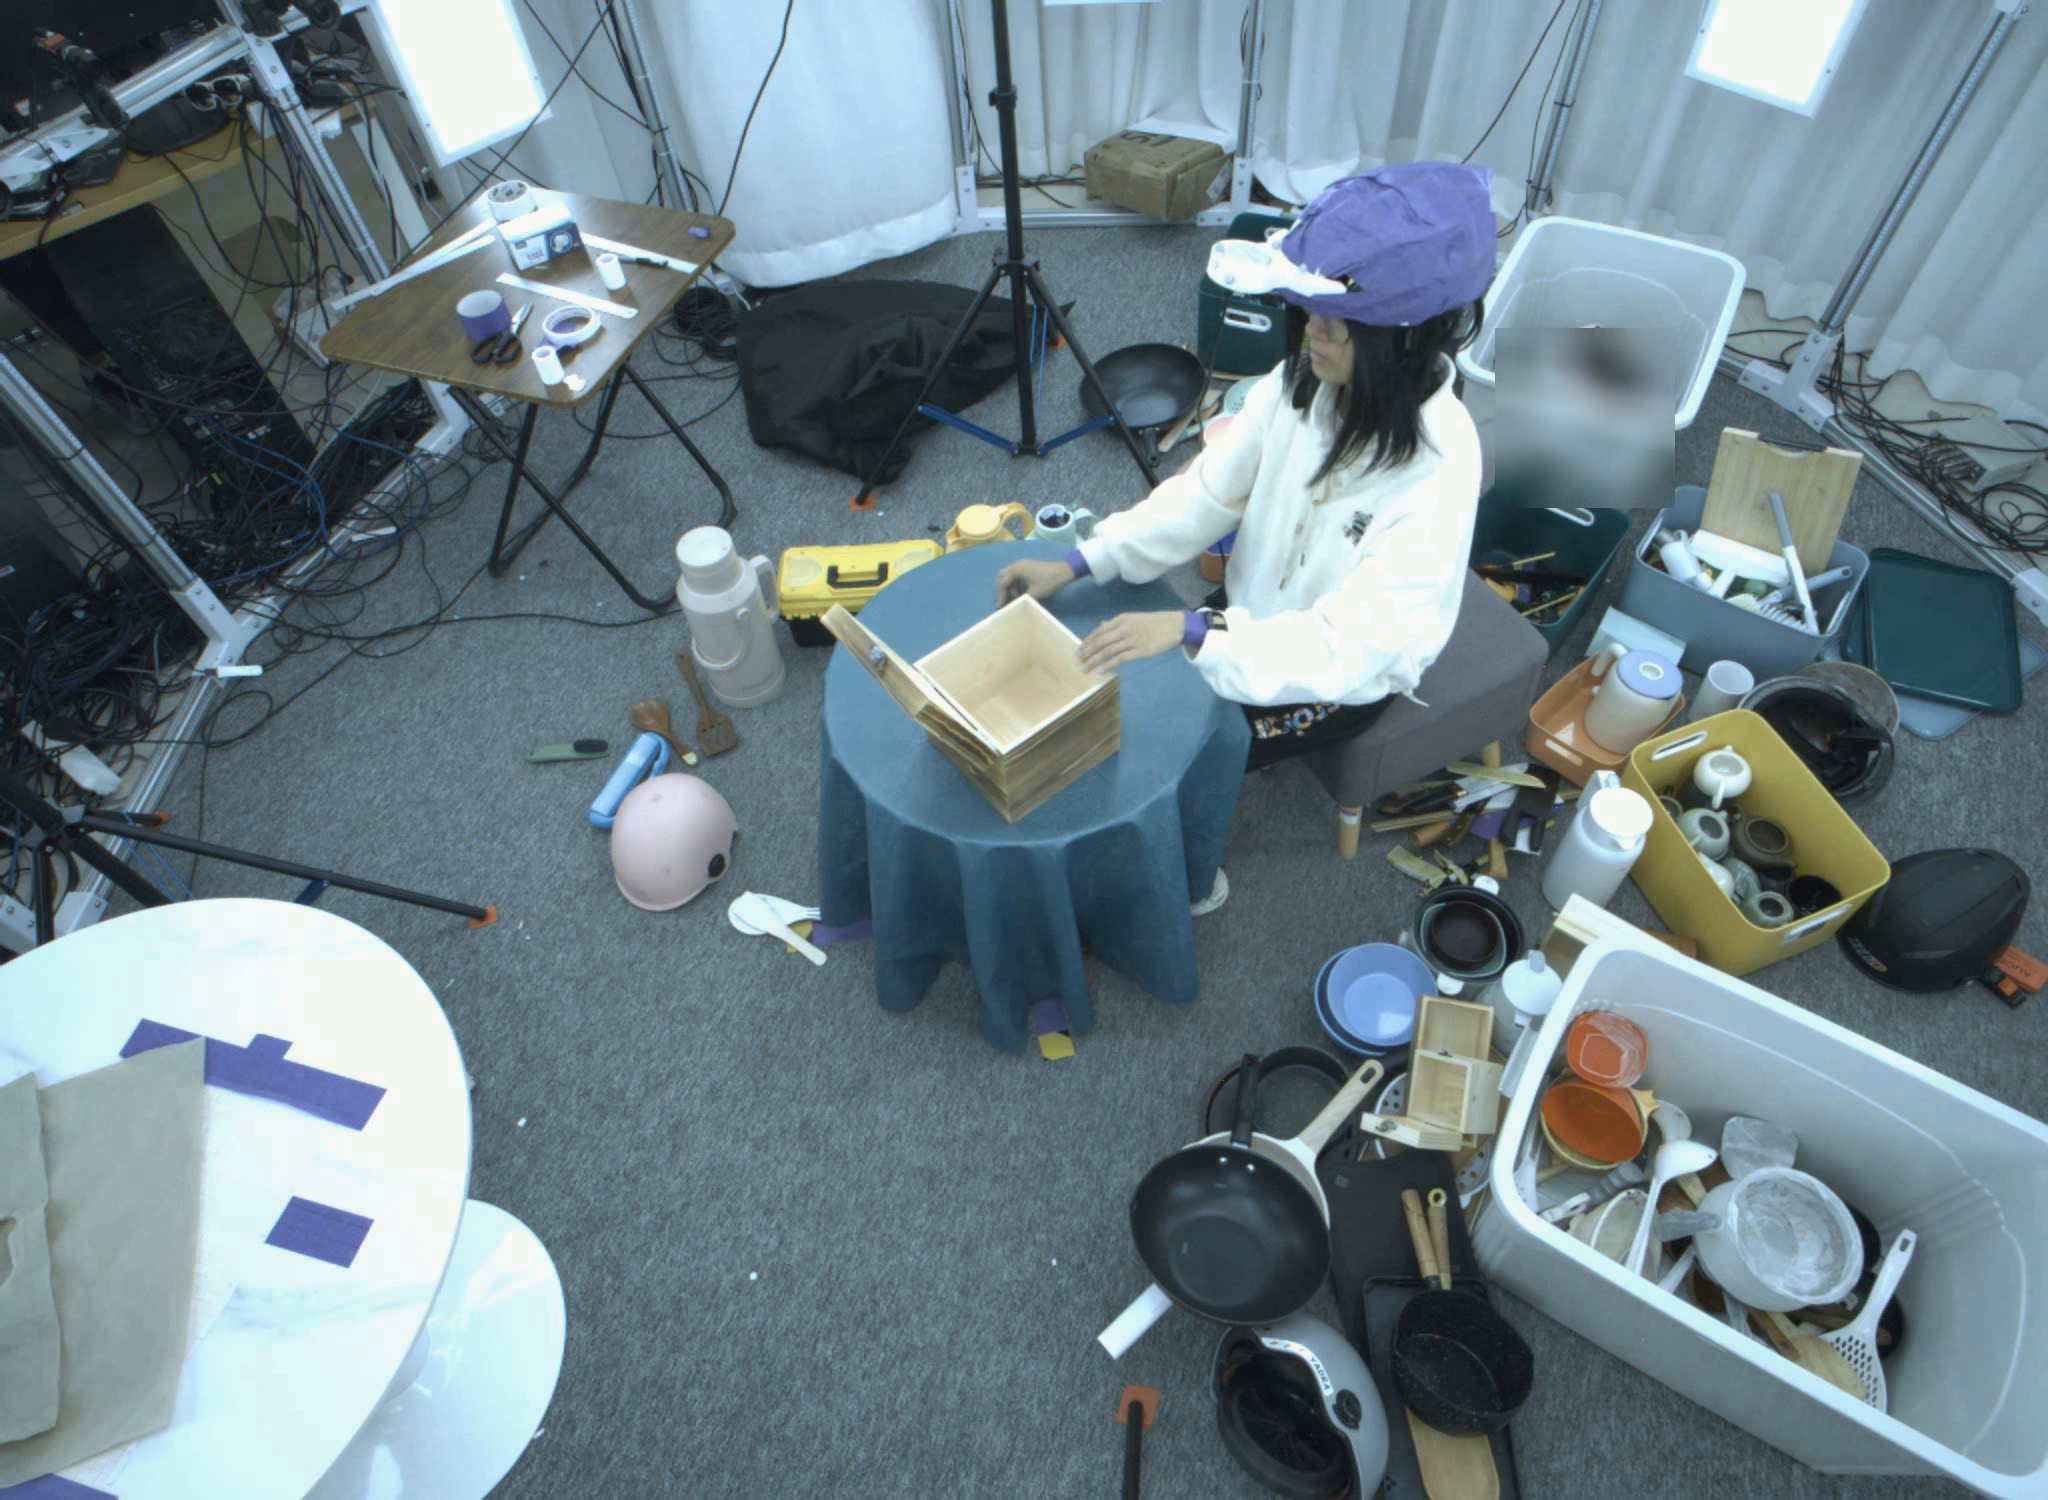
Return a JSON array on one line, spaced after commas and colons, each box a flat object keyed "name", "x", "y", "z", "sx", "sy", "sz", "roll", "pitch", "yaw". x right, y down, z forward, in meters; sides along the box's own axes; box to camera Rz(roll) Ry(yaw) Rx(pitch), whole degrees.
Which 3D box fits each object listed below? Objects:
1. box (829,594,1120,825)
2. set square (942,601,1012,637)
[{"name": "box", "x": -0.053, "y": -0.083, "z": 1.630, "sx": 0.324, "sy": 0.380, "sz": 0.205, "roll": -36, "pitch": 61, "yaw": -18}, {"name": "set square", "x": -0.065, "y": -0.208, "z": 1.933, "sx": 0.132, "sy": 0.006, "sz": 0.060, "roll": -7, "pitch": 59, "yaw": -3}]
